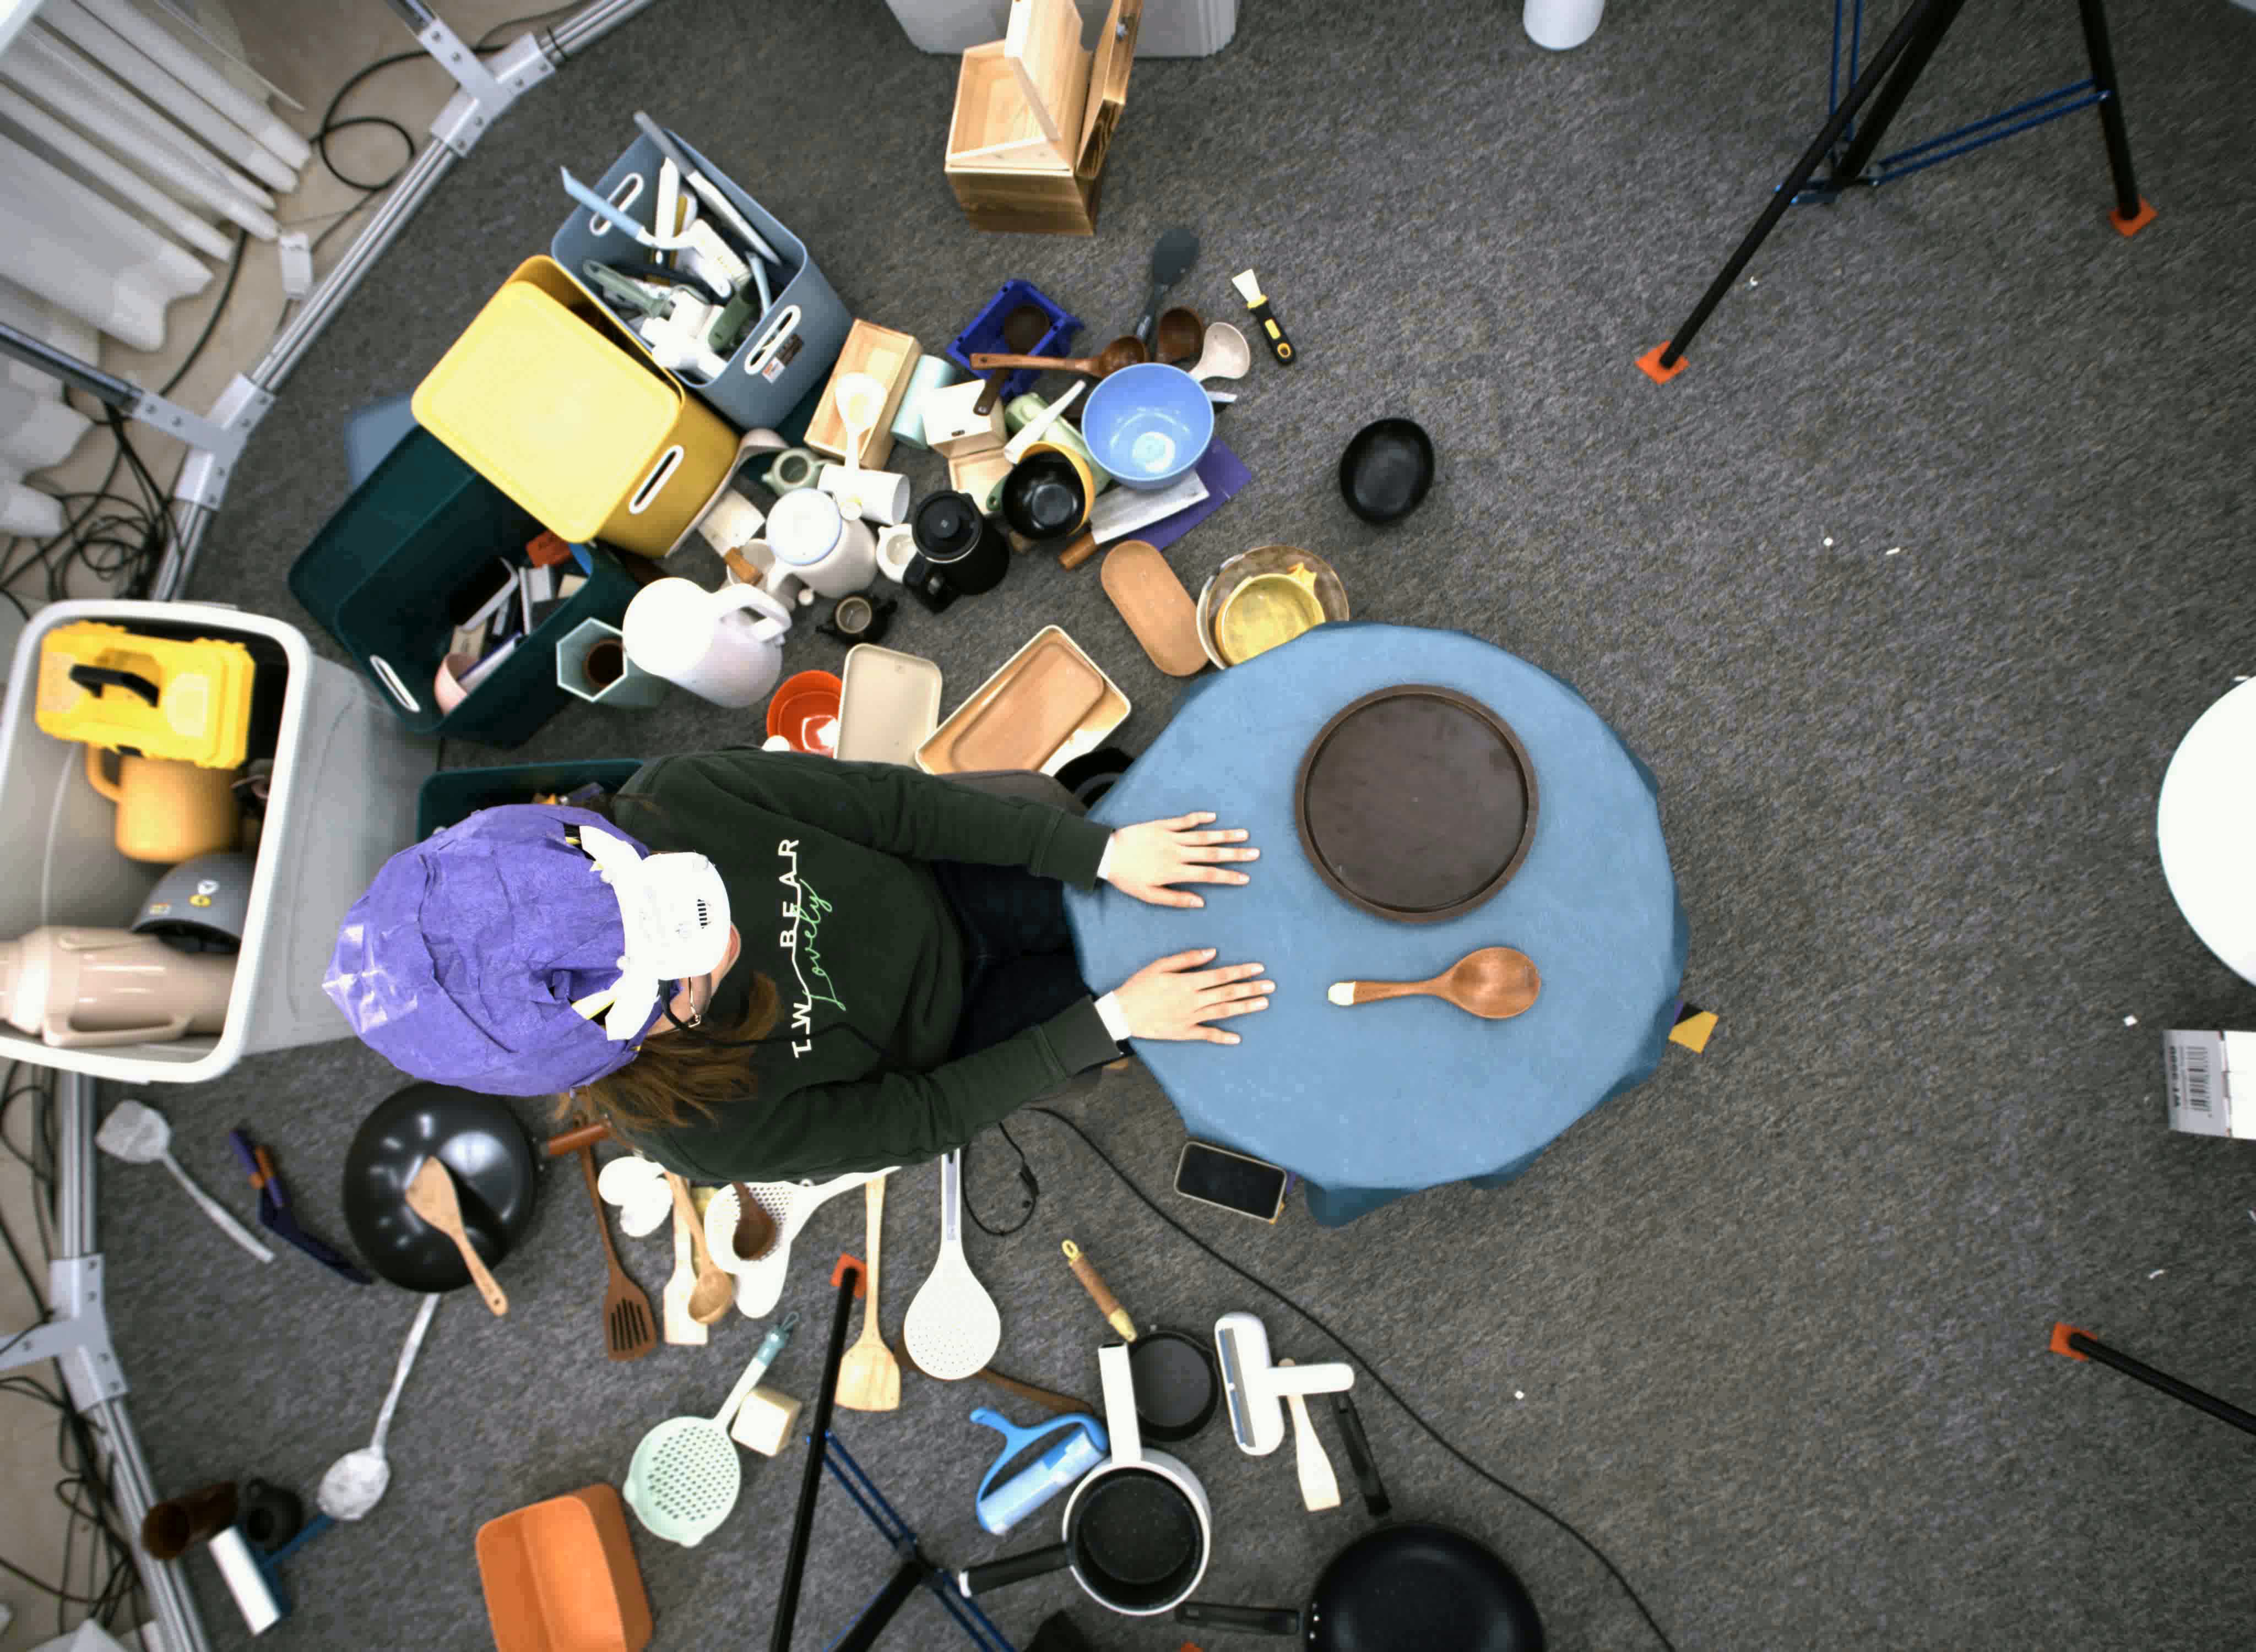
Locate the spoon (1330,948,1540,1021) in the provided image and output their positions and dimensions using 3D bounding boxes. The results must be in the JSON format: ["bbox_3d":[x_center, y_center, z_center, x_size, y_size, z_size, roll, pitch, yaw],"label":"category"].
[{"bbox_3d":[0.319,0.168,1.440,0.217,0.017,0.075,-6,85,10],"label":"spoon"}]

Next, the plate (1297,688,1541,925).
[{"bbox_3d":[0.305,-0.022,1.454,0.256,0.029,0.253,-1,85,9],"label":"plate"}]
